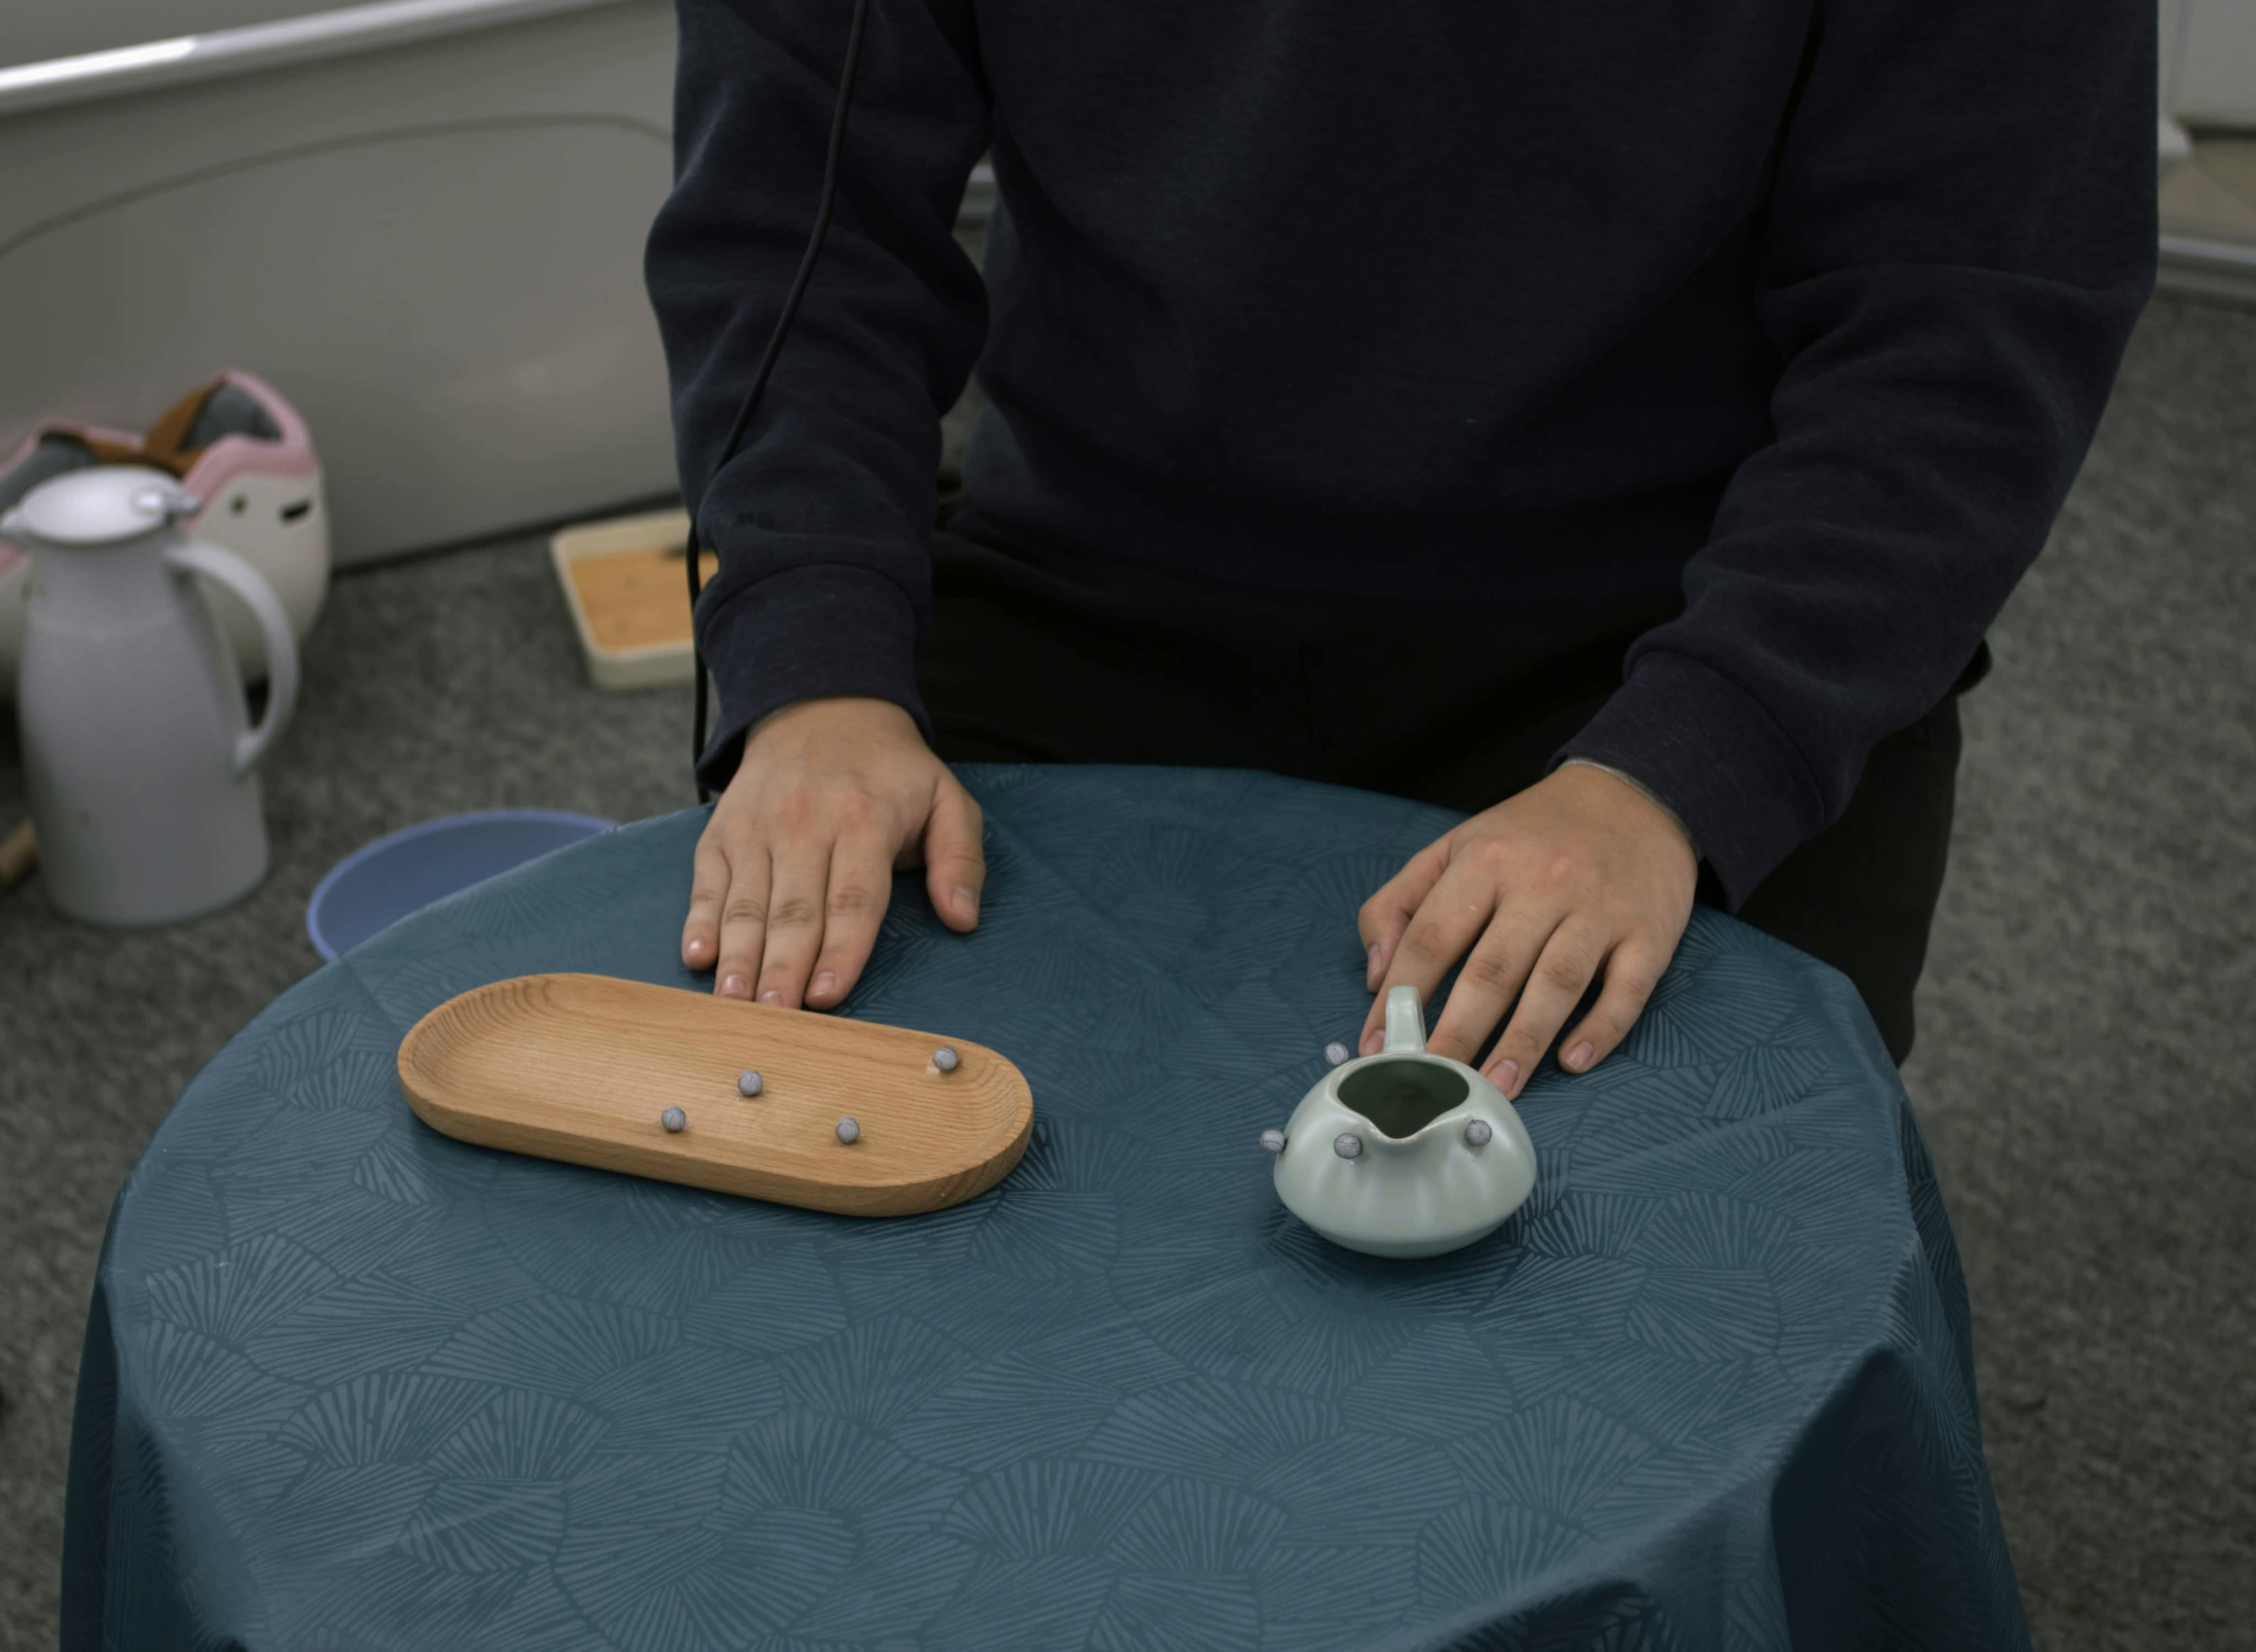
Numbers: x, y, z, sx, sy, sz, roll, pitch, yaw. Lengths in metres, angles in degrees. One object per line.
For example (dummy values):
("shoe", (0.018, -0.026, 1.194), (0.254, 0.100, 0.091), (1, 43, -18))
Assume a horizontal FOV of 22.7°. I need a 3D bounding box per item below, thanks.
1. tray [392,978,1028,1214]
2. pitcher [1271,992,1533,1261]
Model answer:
("tray", (-0.143, 0.092, 1.918), (0.229, 0.020, 0.103), (7, 28, 22))
("pitcher", (0.089, 0.100, 1.840), (0.085, 0.060, 0.109), (-1, 25, 2))
